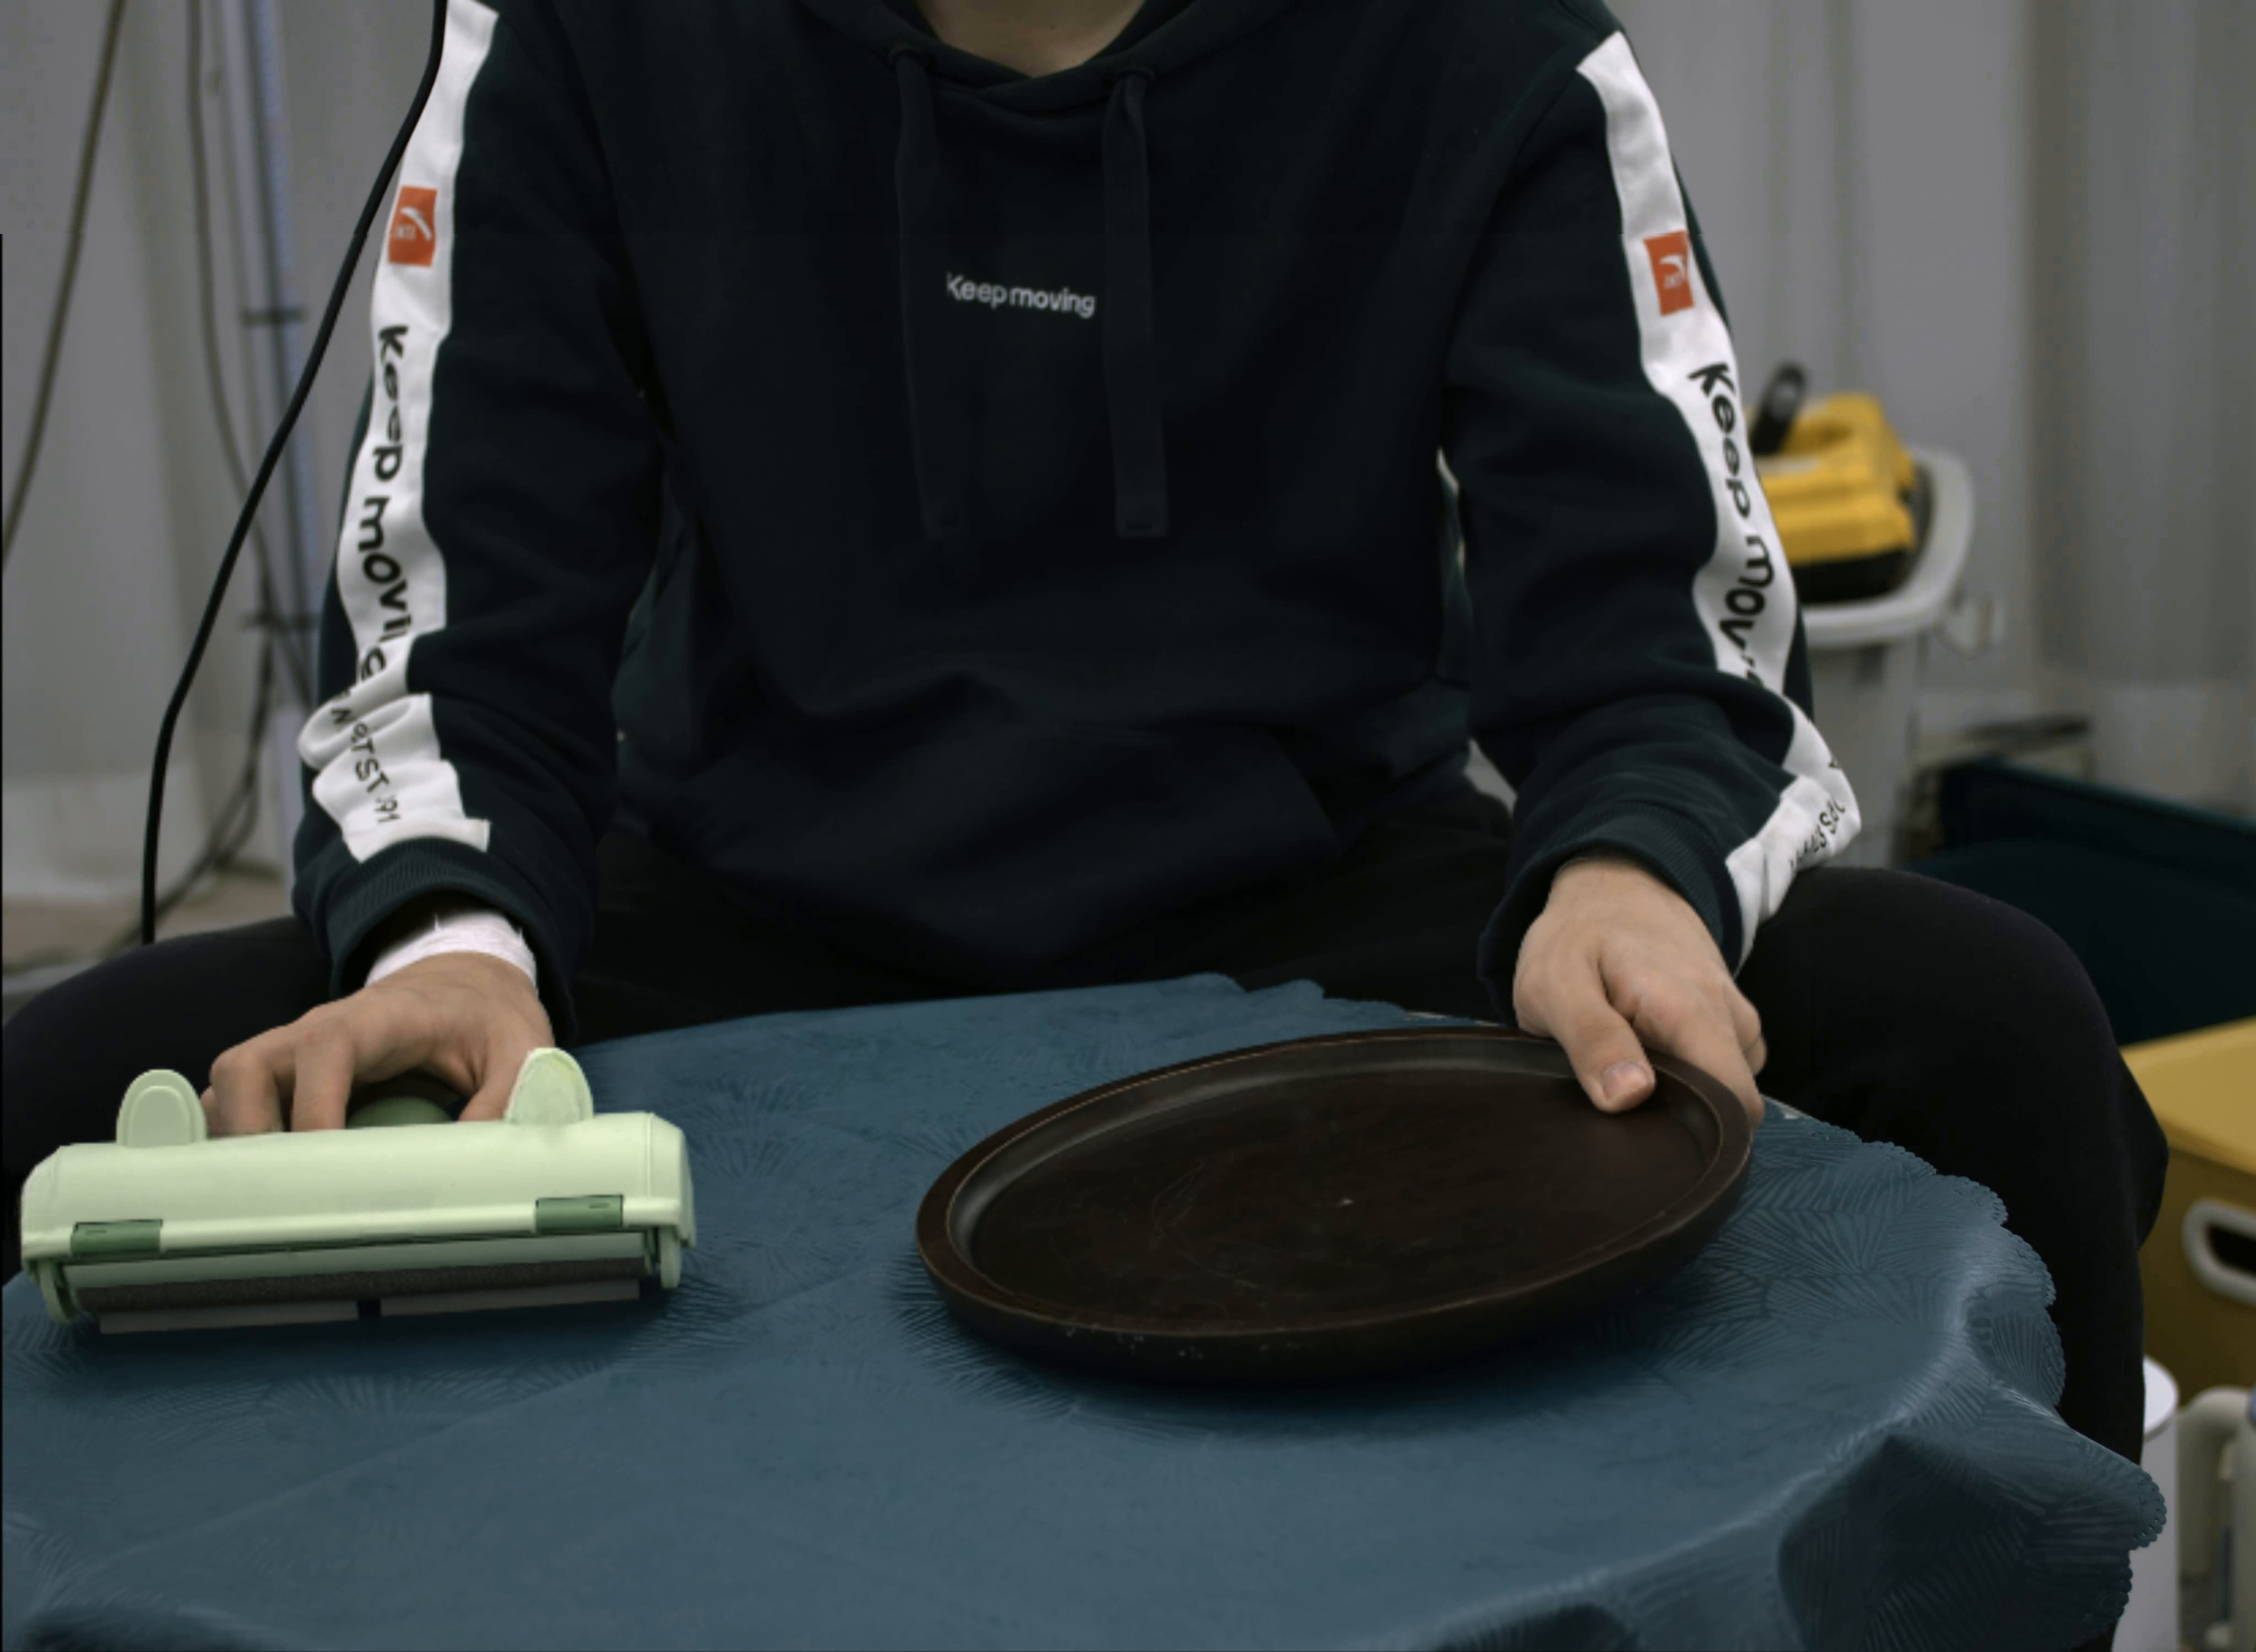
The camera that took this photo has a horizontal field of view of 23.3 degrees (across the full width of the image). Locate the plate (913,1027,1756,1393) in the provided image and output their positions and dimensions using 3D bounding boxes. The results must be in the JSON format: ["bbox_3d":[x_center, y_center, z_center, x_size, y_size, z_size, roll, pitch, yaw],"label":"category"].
[{"bbox_3d":[0.062,0.112,1.630,0.254,0.029,0.257,-8,17,2],"label":"plate"}]

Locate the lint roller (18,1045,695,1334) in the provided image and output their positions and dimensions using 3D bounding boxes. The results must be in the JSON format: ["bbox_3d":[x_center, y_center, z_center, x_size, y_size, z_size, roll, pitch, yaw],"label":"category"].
[{"bbox_3d":[-0.231,0.094,1.684,0.198,0.082,0.185,-4,18,-1],"label":"lint roller"}]
